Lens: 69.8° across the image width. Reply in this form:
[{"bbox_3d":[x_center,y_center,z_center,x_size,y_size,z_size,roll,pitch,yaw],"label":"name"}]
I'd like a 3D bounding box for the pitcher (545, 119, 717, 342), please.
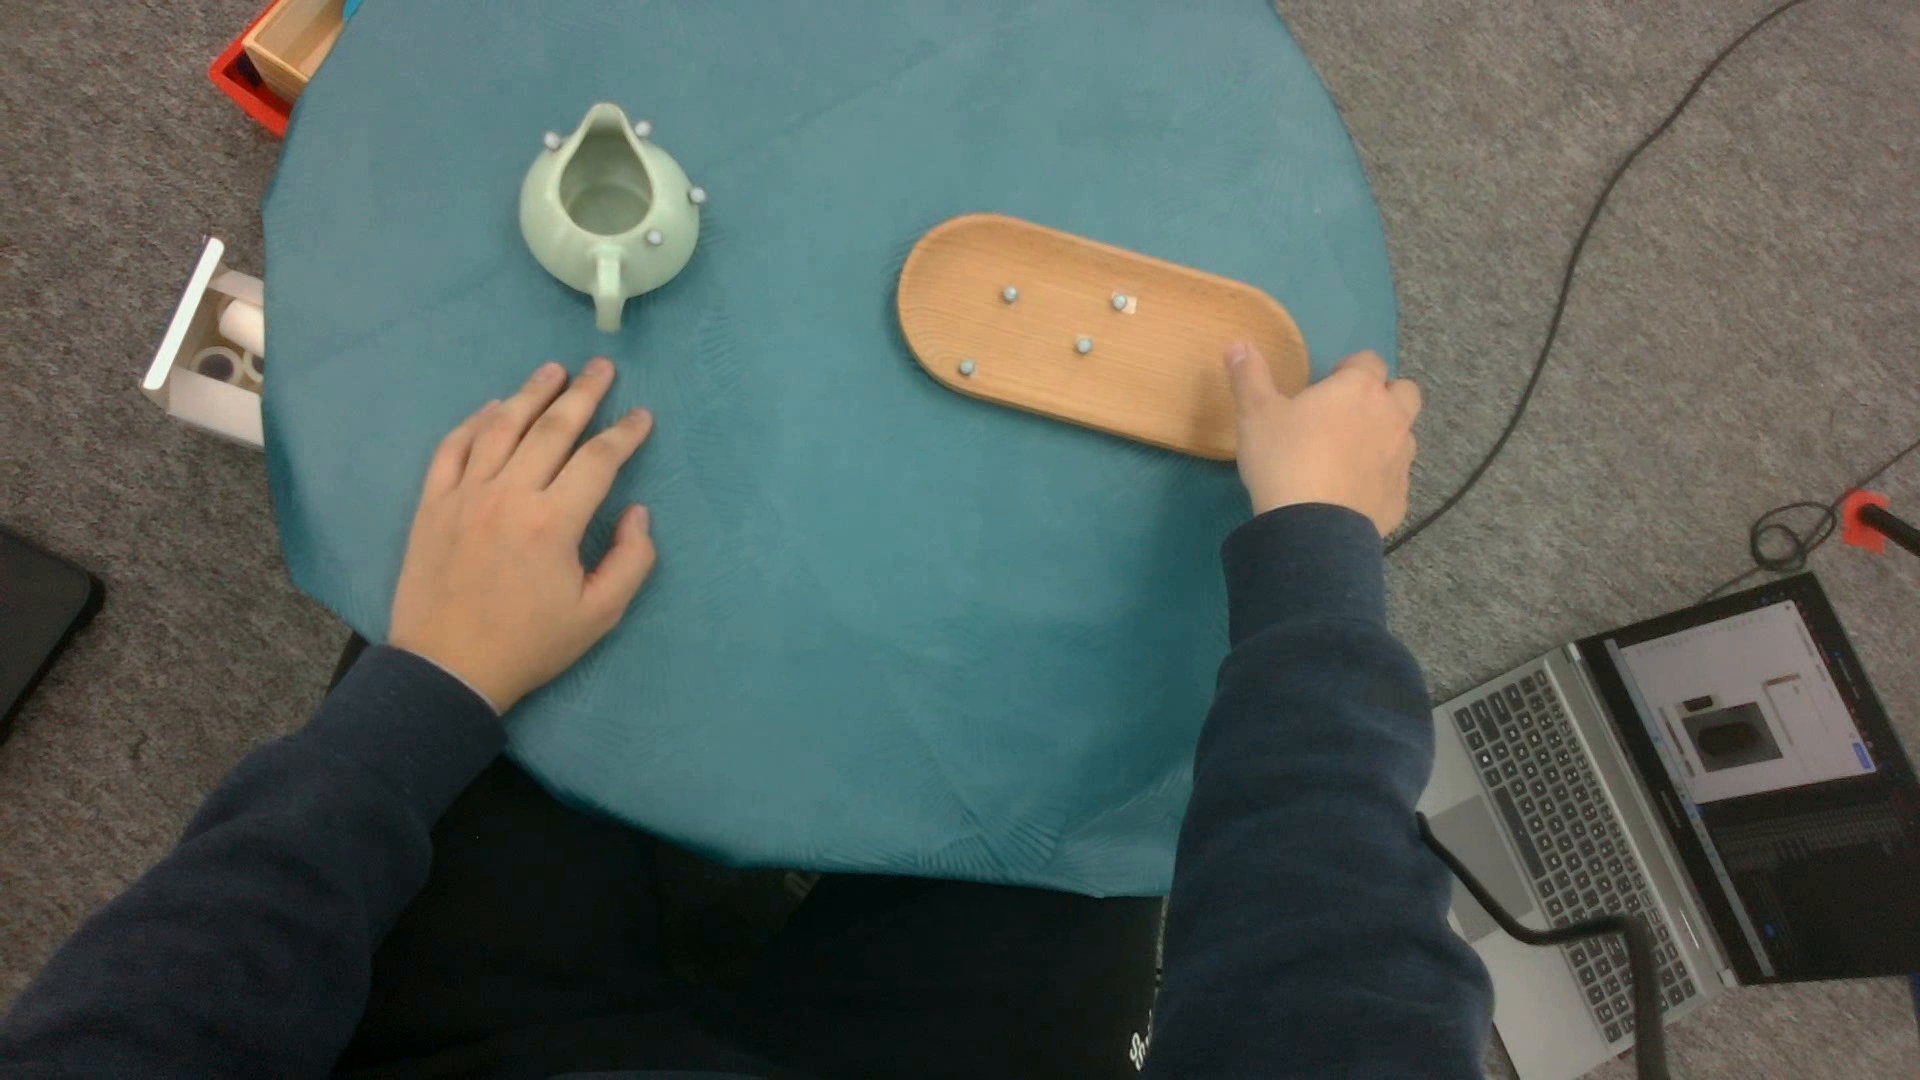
[{"bbox_3d":[-0.167,-0.152,0.697,0.086,0.060,0.108,-2,83,-10],"label":"pitcher"}]

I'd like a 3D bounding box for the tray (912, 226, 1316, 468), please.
[{"bbox_3d":[0.086,-0.105,0.756,0.231,0.020,0.102,14,79,-10],"label":"tray"}]
